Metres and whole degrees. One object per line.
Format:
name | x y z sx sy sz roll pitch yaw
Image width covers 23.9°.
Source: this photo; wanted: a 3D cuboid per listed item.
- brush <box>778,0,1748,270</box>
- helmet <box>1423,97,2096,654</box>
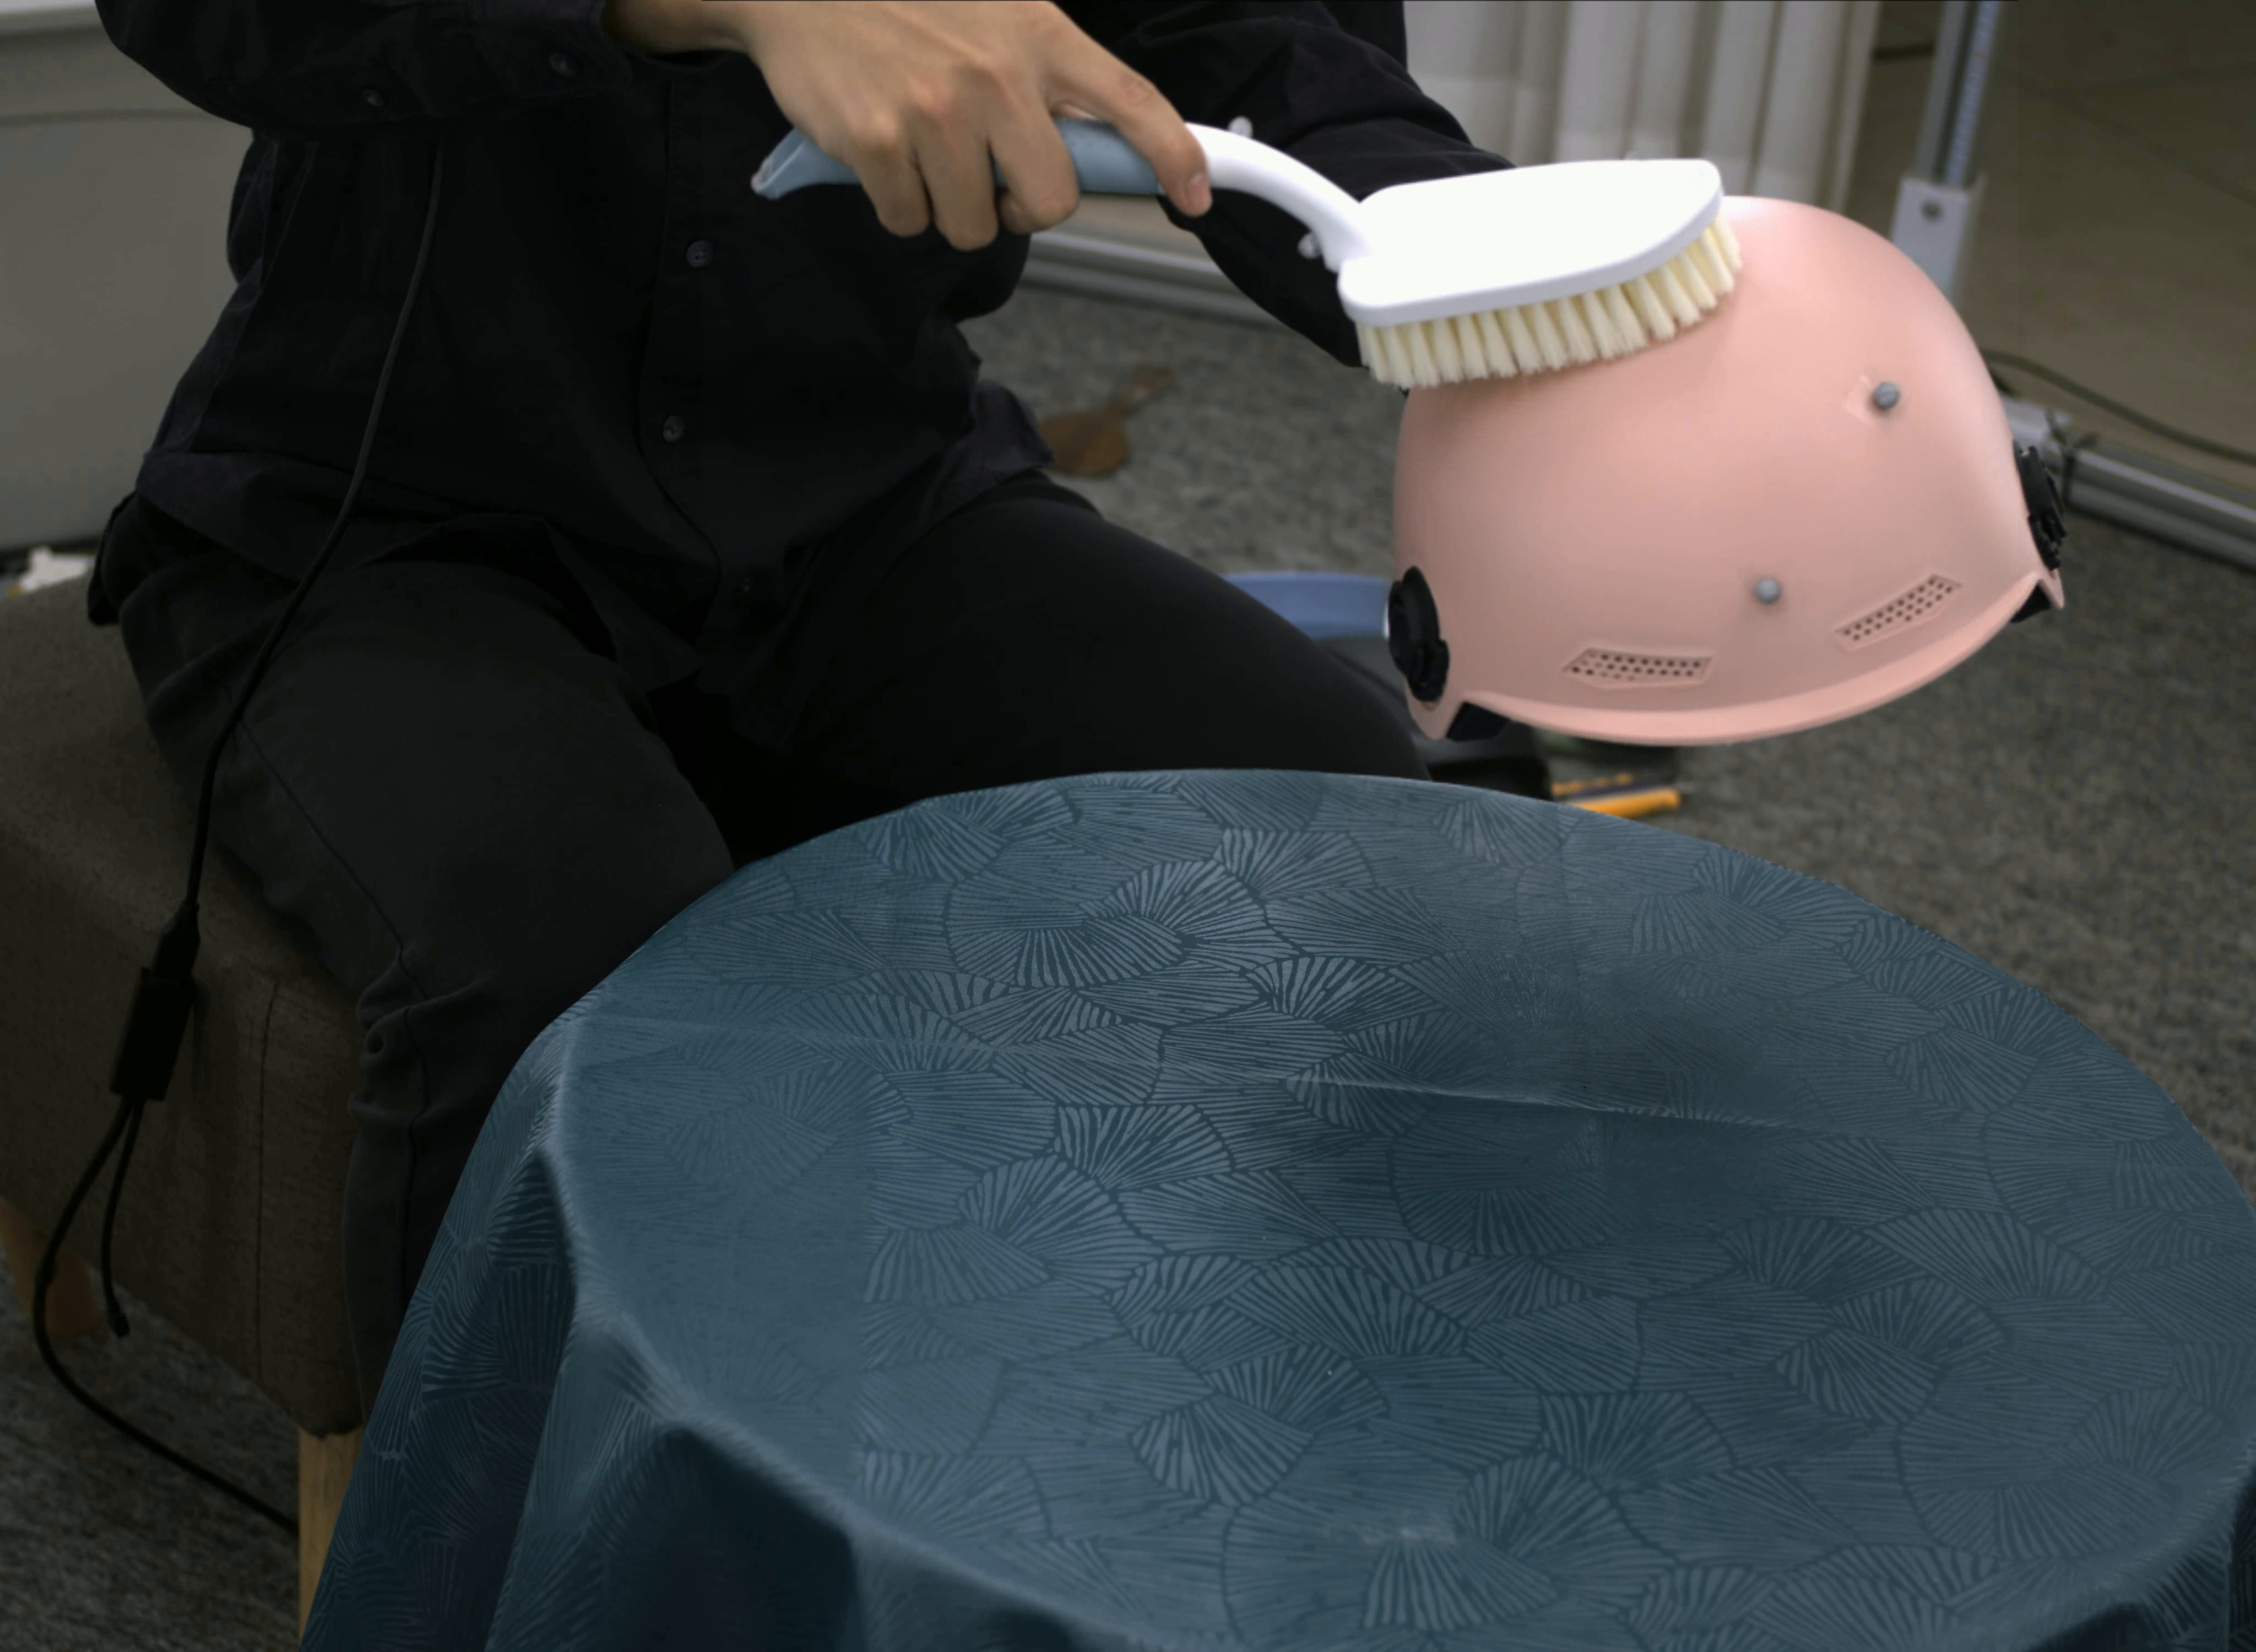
brush | 0.045 -0.231 1.790 0.325 0.084 0.083 3 5 7
helmet | 0.207 -0.165 1.835 0.233 0.158 0.267 -12 18 1
